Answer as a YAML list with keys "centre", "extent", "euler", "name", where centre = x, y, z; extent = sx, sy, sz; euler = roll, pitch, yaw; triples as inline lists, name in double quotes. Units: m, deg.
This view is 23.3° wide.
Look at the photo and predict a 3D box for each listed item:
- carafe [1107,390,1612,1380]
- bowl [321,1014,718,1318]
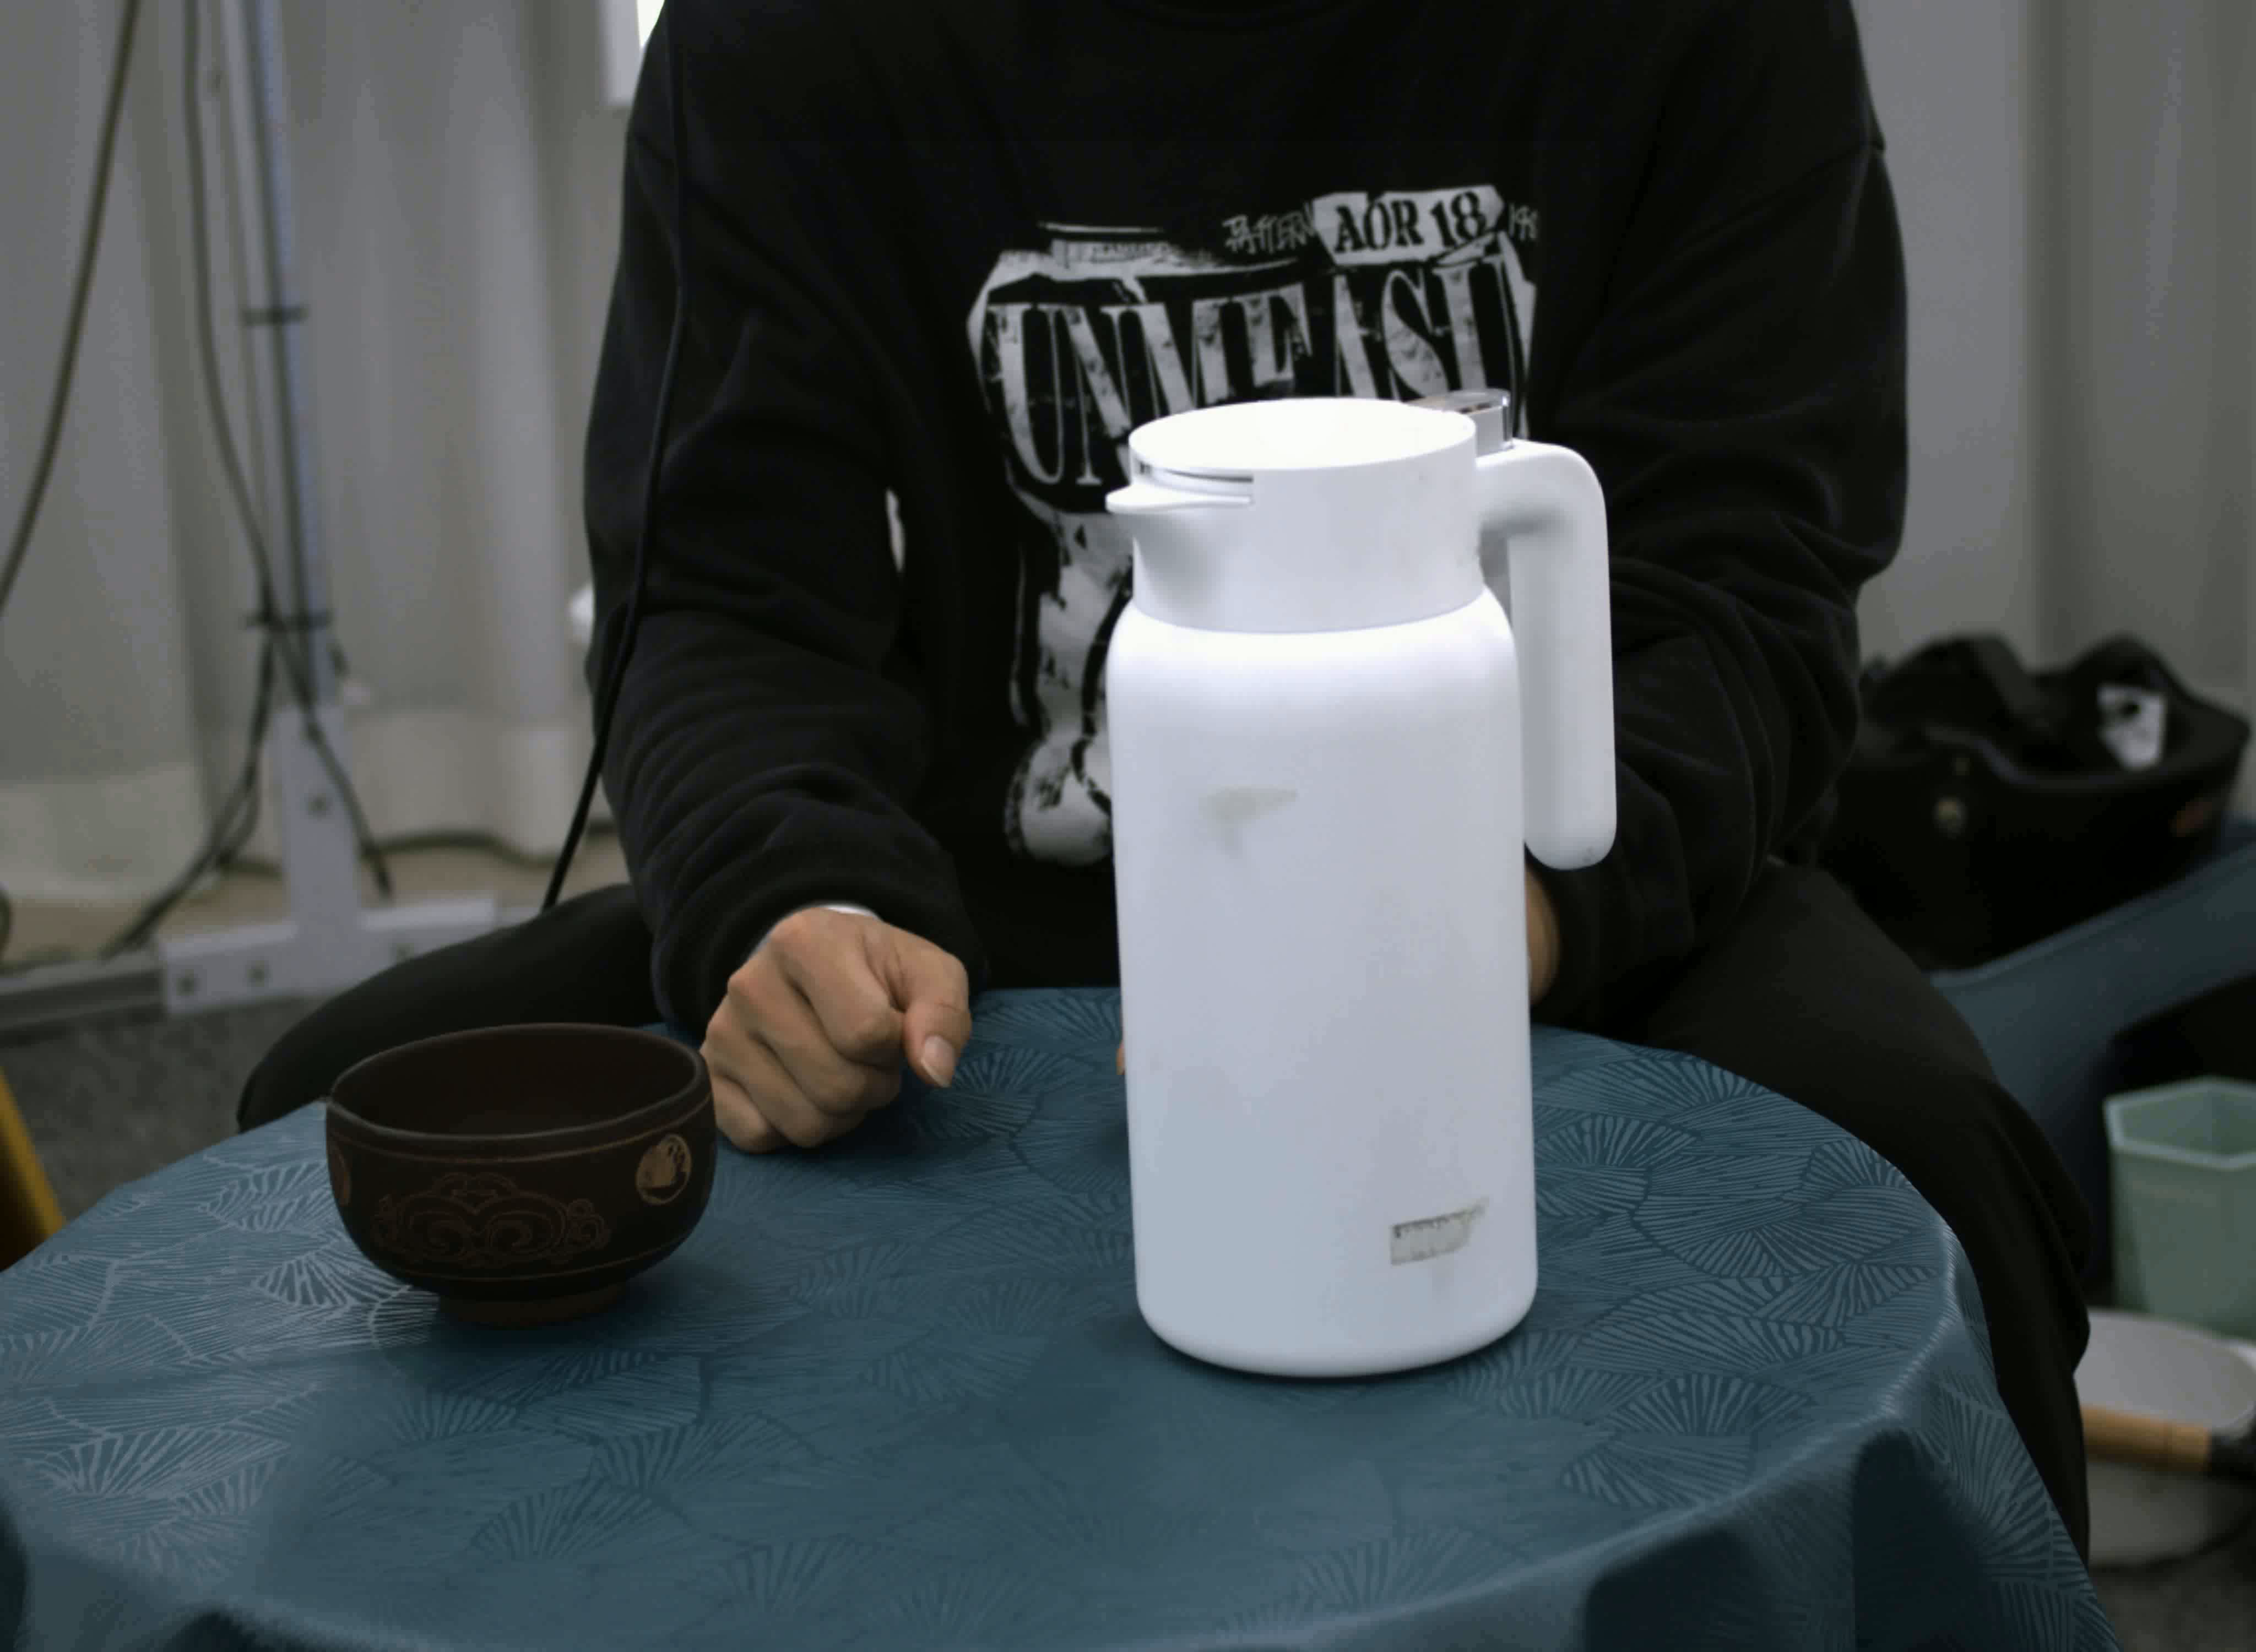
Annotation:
- centre: [0.068, 0.012, 1.572]
  extent: [0.172, 0.268, 0.124]
  euler: [-14, 16, -38]
  name: "carafe"
- centre: [-0.181, 0.105, 1.639]
  extent: [0.117, 0.069, 0.119]
  euler: [-3, 14, 0]
  name: "bowl"
